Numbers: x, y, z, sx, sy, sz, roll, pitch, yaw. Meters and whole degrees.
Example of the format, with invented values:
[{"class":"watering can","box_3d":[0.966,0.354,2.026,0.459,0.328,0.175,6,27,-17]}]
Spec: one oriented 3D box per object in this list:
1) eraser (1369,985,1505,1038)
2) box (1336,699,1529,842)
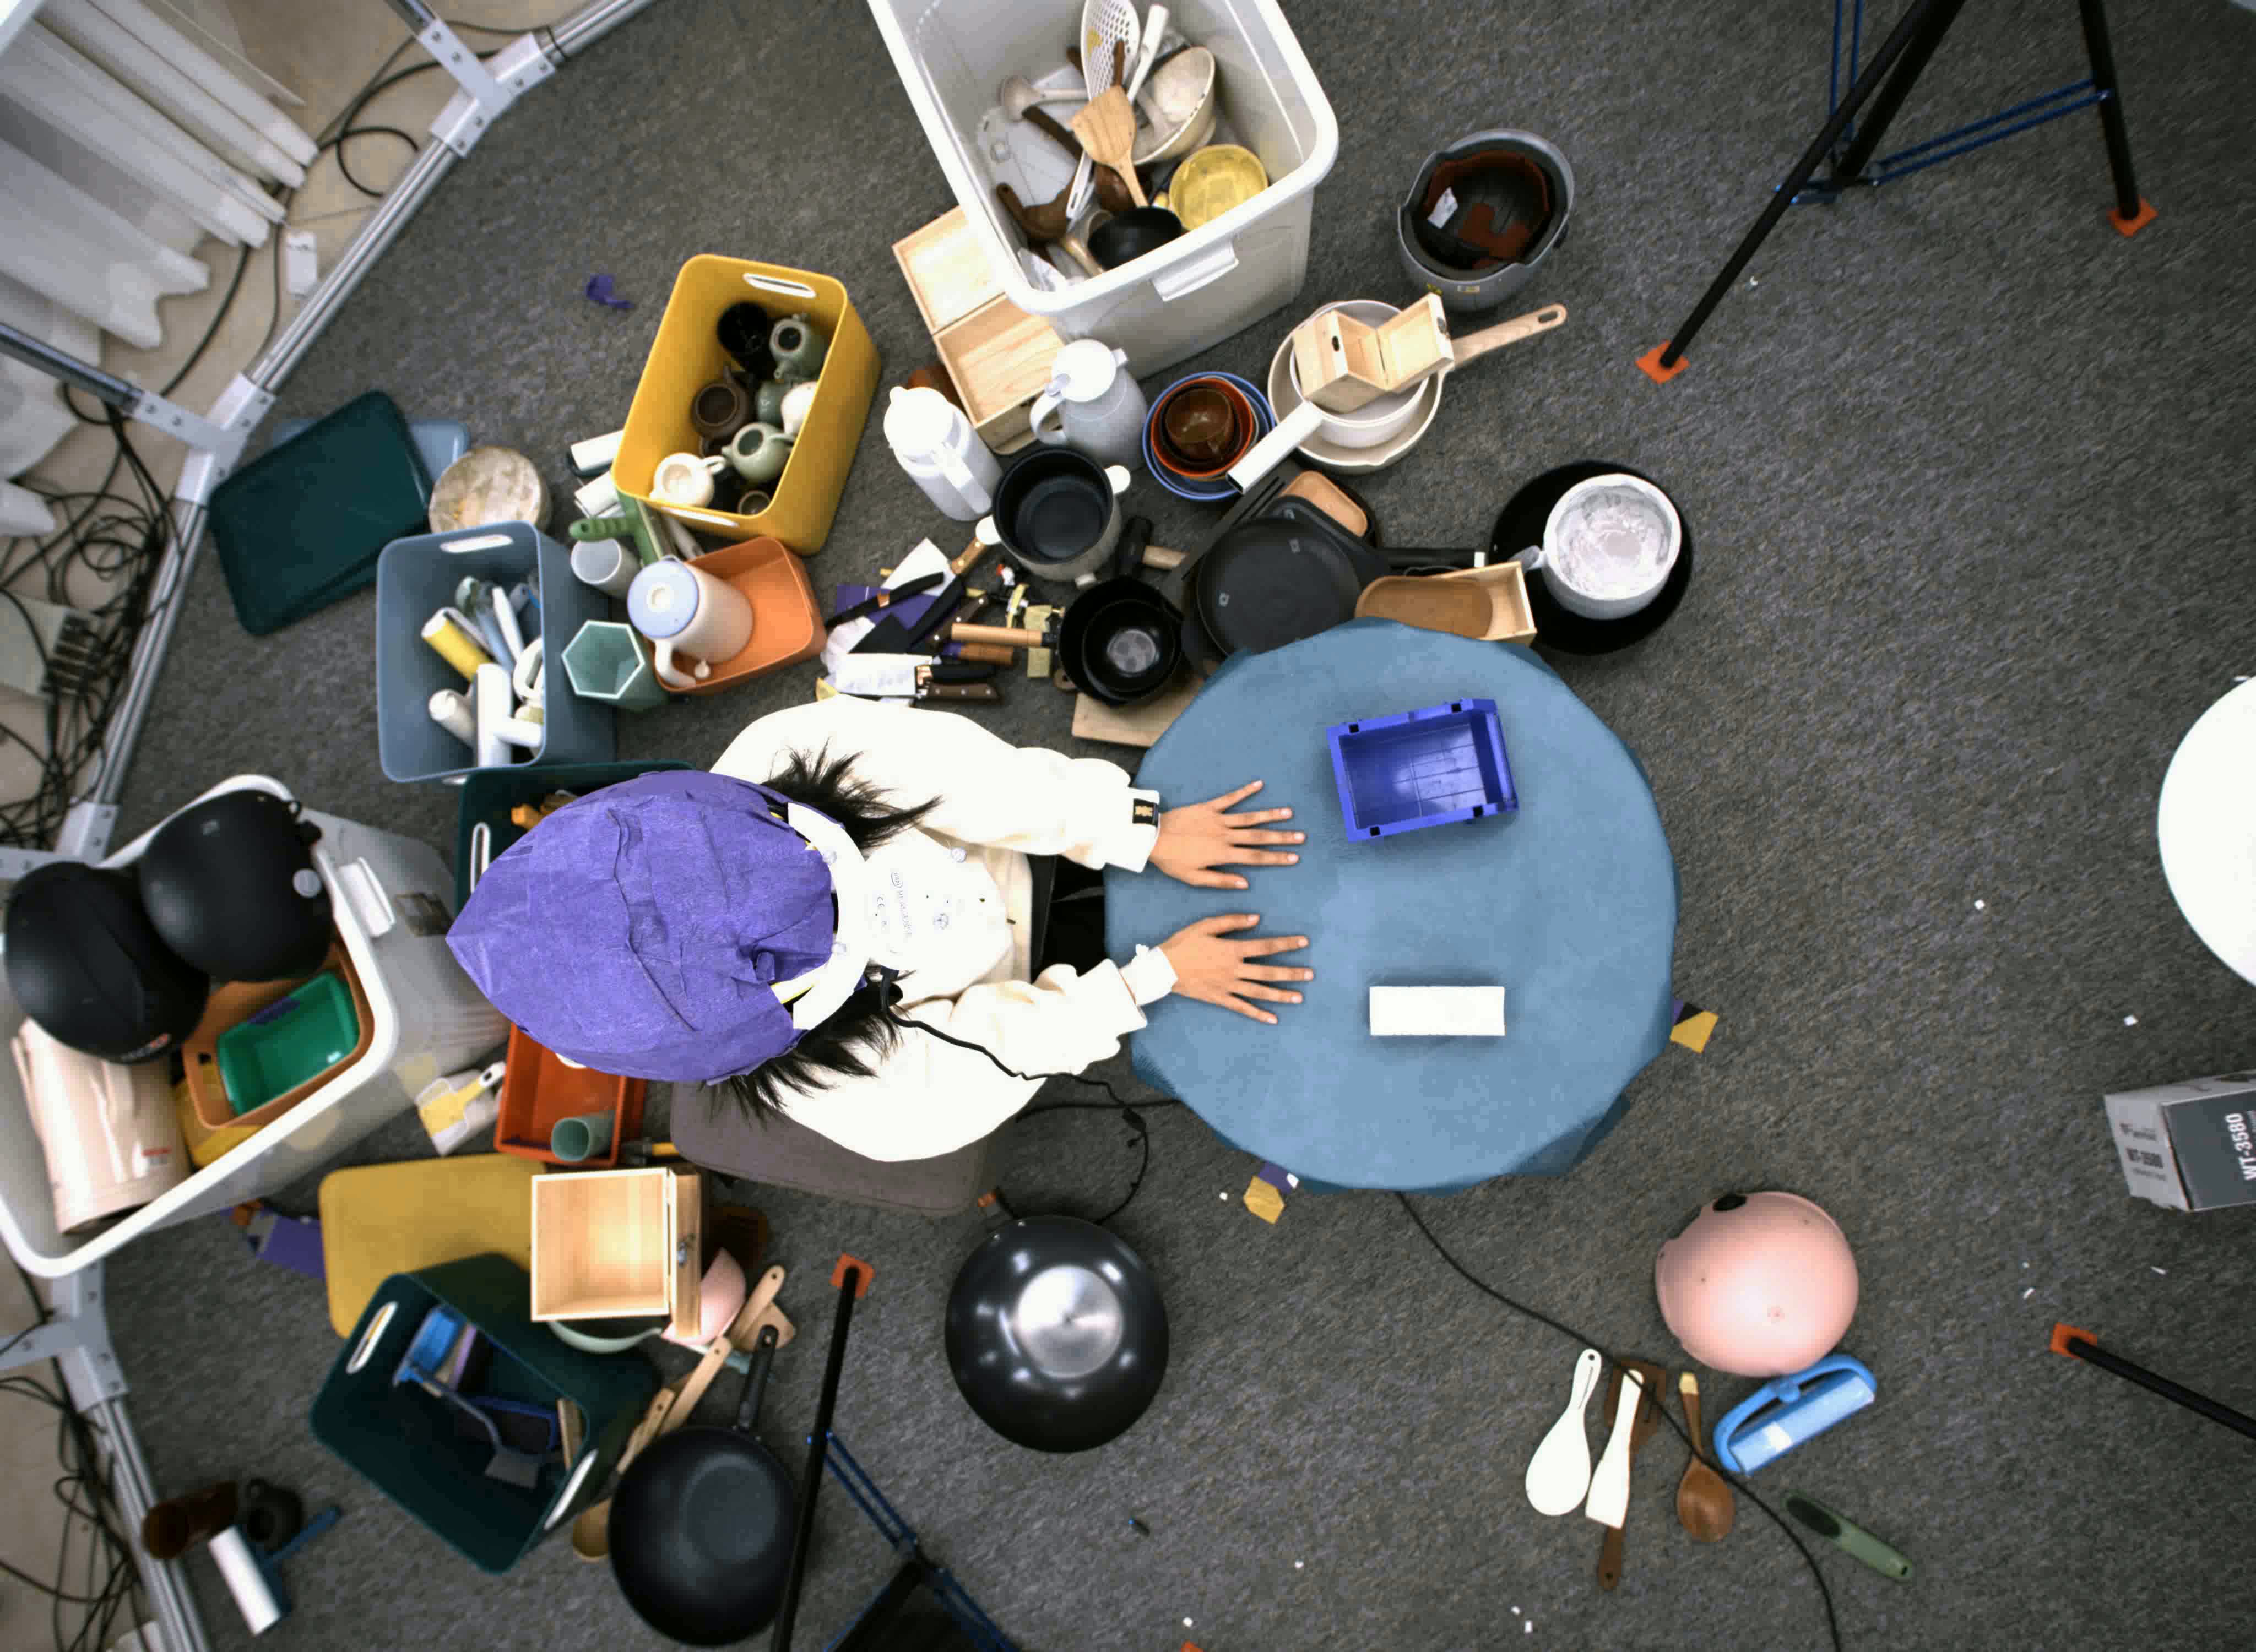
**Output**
[{"class":"eraser","box_3d":[0.317,0.189,1.421,0.135,0.046,0.049,-3,87,9]},{"class":"box","box_3d":[0.315,-0.060,1.418,0.180,0.082,0.124,-10,84,12]}]
